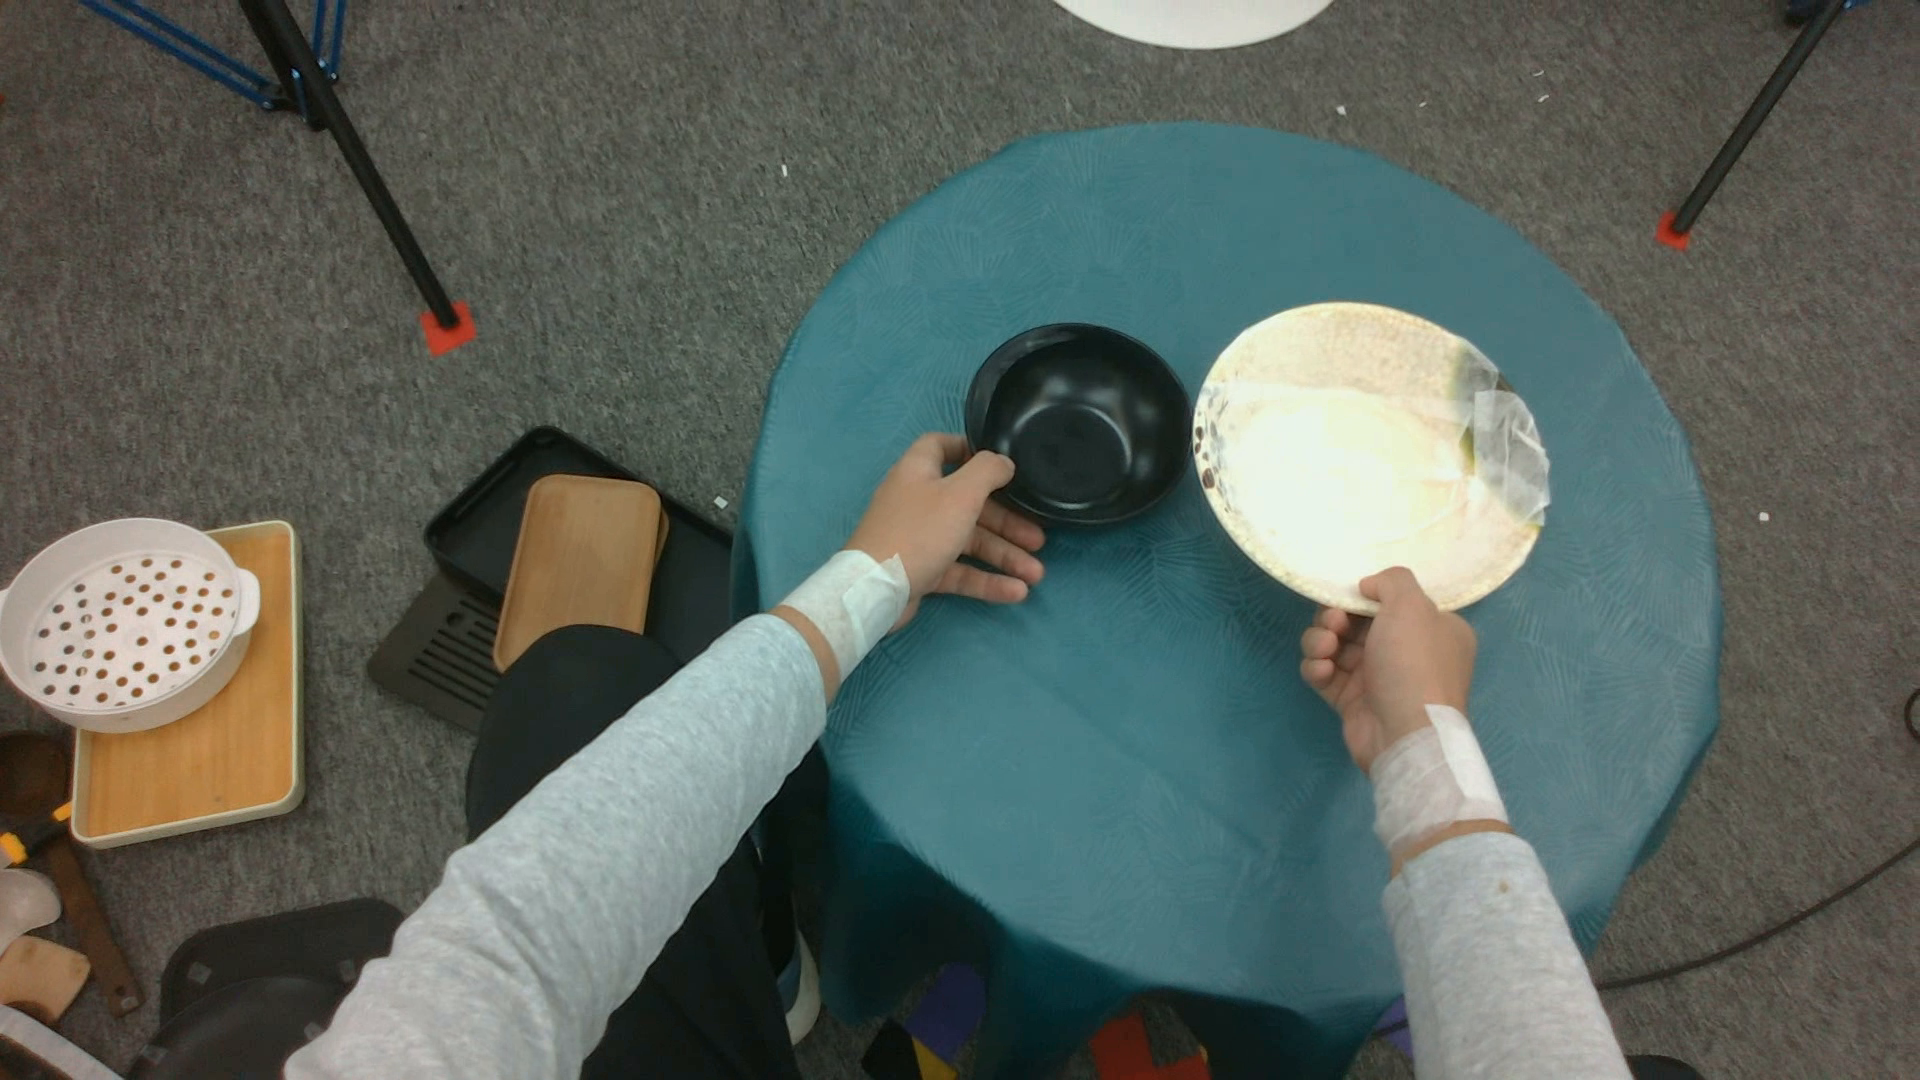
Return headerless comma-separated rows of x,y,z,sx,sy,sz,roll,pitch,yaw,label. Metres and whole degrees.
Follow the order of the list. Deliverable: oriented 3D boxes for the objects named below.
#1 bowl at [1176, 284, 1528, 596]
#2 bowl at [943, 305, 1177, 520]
0.222,-0.048,0.819,0.204,0.077,0.205,2,65,-4,bowl
0.059,-0.071,0.837,0.140,0.049,0.140,0,69,-1,bowl
